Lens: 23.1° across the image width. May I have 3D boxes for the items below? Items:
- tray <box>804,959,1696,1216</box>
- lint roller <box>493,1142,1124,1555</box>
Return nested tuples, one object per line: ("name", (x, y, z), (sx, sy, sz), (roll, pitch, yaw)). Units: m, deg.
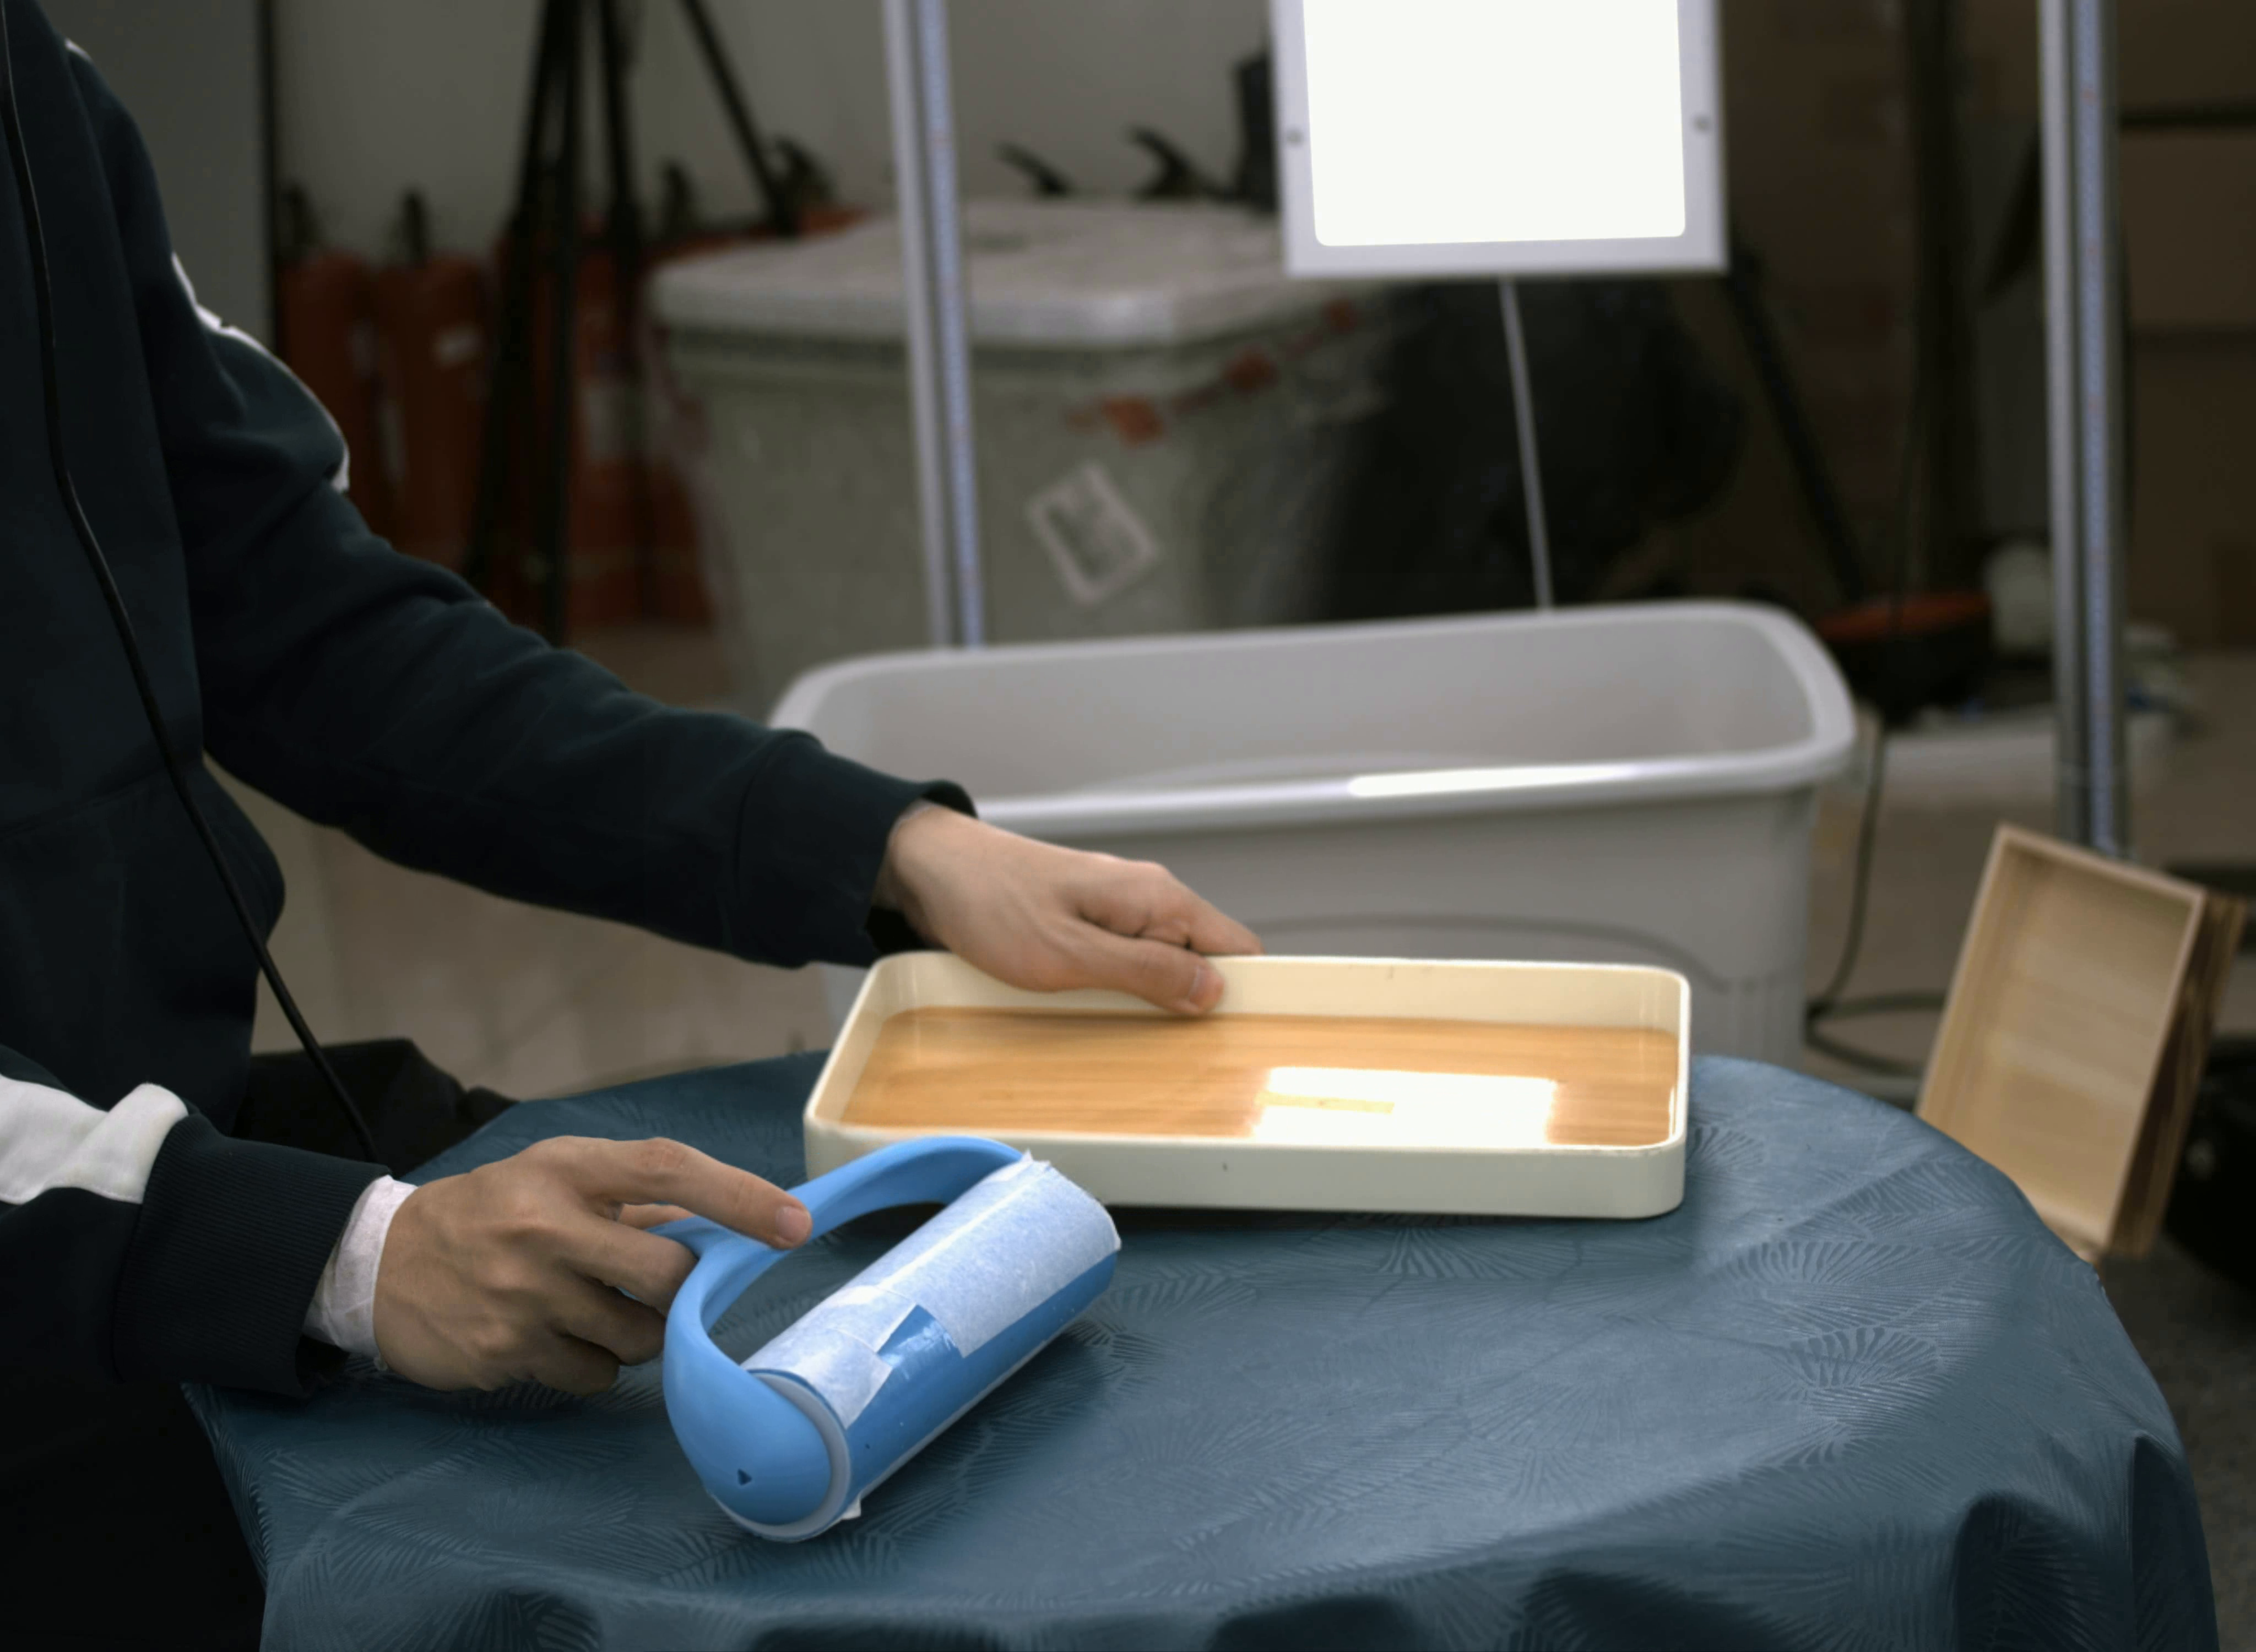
("tray", (0.047, 0.090, 1.919), (0.301, 0.027, 0.190), (0, 18, 9))
("lint roller", (-0.116, 0.154, 1.698), (0.182, 0.068, 0.225), (4, 19, 20))
